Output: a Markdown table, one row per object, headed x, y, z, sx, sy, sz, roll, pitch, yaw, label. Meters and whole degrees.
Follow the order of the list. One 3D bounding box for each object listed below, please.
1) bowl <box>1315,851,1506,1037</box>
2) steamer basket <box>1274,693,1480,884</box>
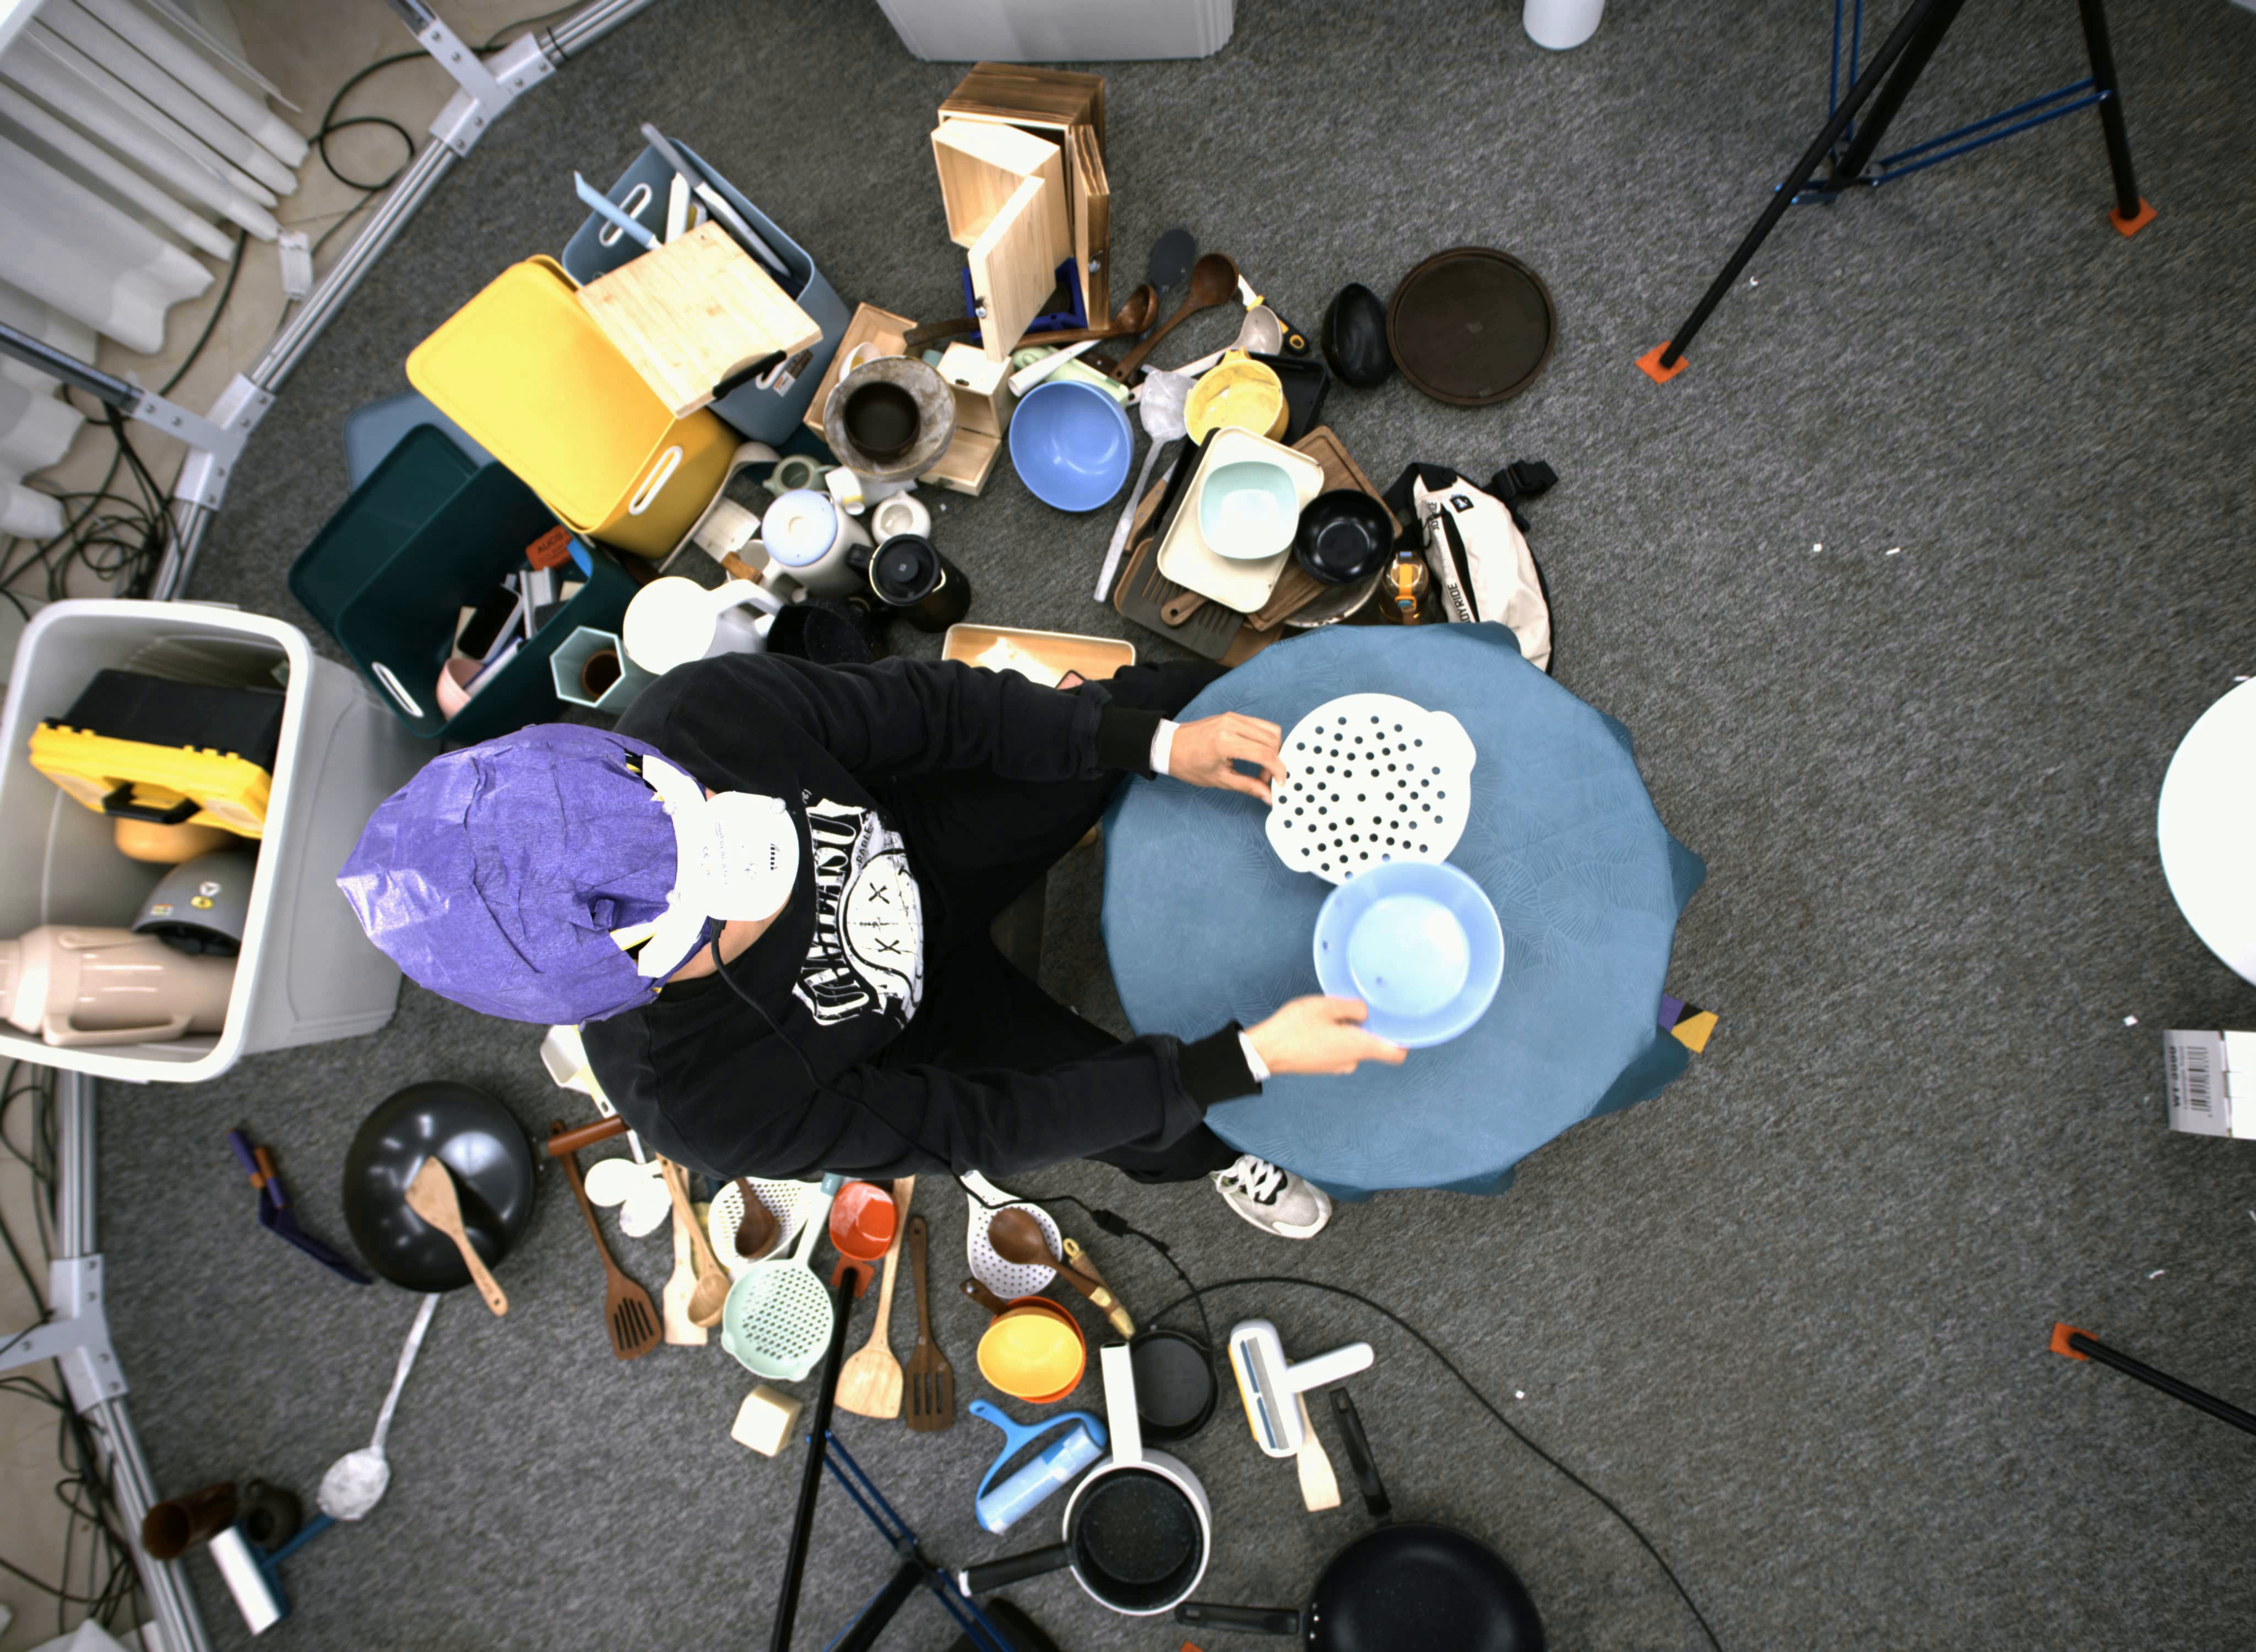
| x | y | z | sx | sy | sz | roll | pitch | yaw | label |
| --- | --- | --- | --- | --- | --- | --- | --- | --- | --- |
| 0.269 | 0.114 | 1.319 | 0.177 | 0.070 | 0.174 | -2 | 80 | 13 | bowl |
| 0.252 | -0.034 | 1.424 | 0.230 | 0.069 | 0.201 | -33 | 88 | -3 | steamer basket |
